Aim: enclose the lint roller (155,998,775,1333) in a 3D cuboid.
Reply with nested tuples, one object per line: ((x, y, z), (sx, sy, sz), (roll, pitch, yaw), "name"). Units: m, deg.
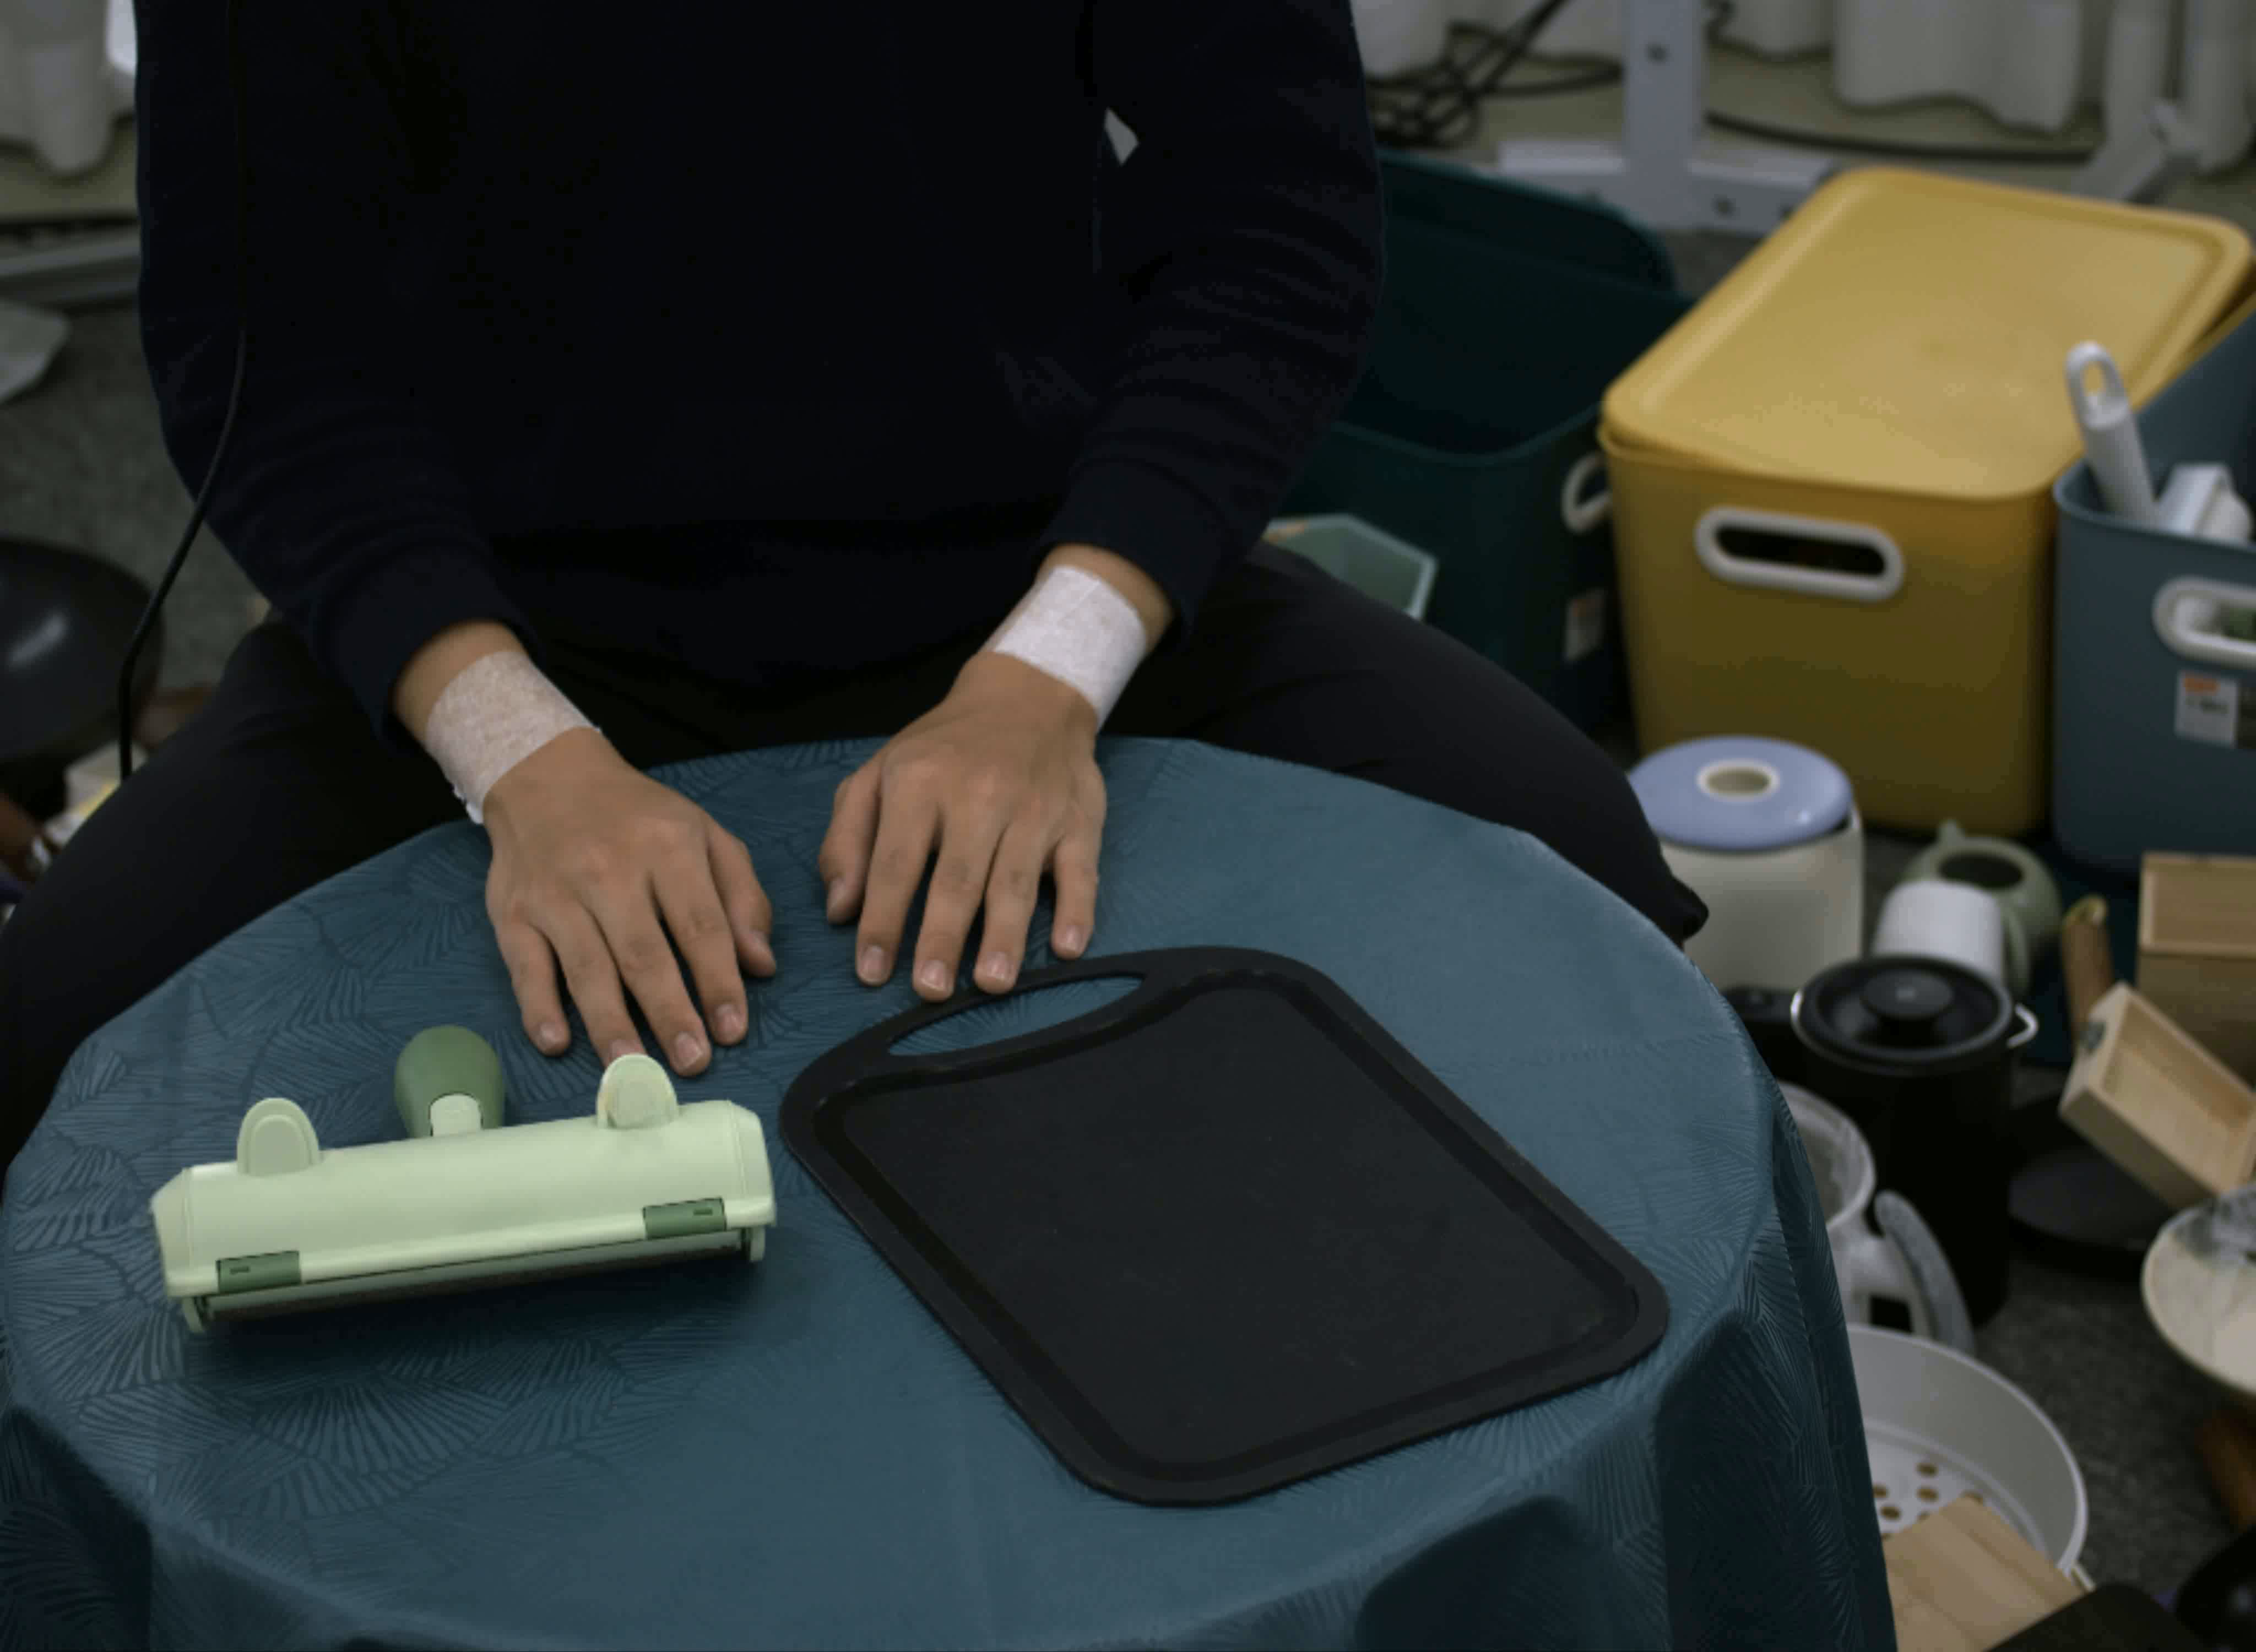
((-0.224, 0.089, 1.855), (0.198, 0.081, 0.186), (-6, 34, -9), "lint roller")

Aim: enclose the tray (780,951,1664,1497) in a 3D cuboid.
((0.021, 0.121, 1.855), (0.212, 0.009, 0.327), (-15, 30, -22), "tray")
